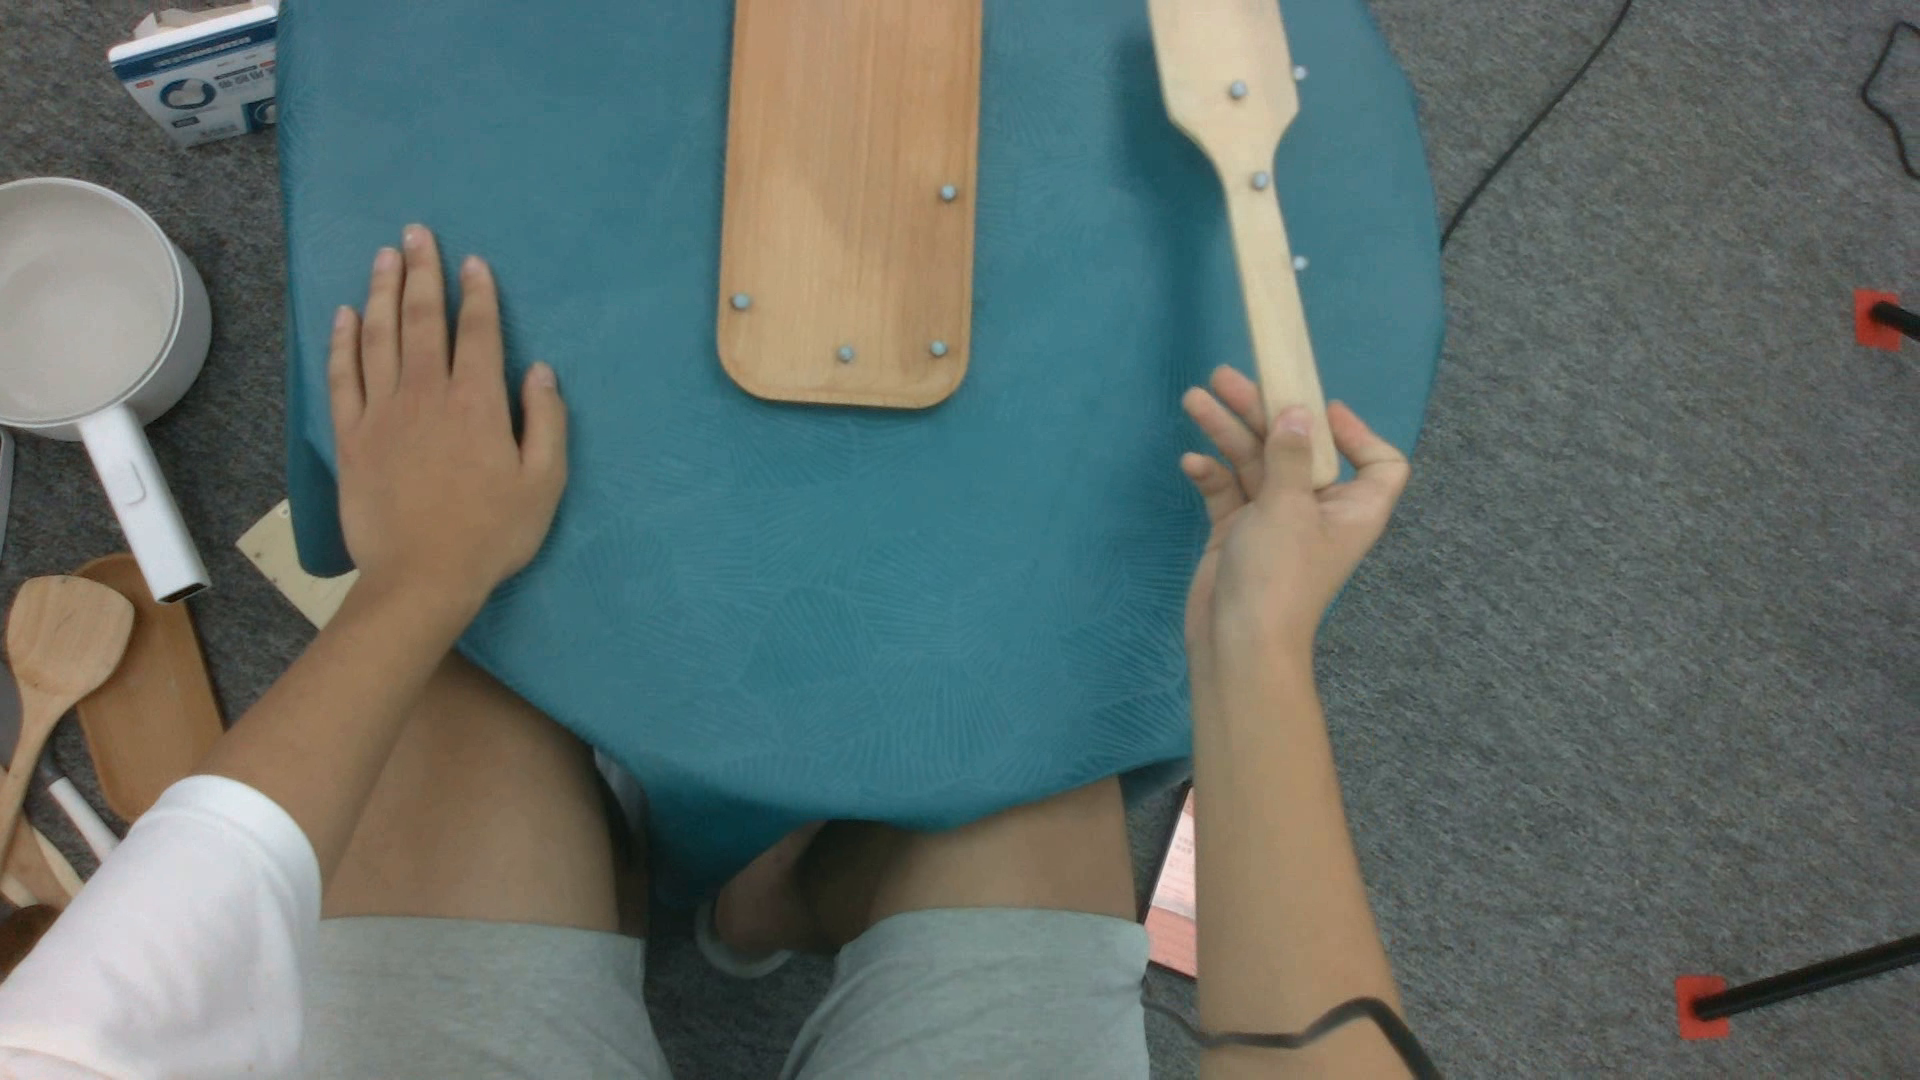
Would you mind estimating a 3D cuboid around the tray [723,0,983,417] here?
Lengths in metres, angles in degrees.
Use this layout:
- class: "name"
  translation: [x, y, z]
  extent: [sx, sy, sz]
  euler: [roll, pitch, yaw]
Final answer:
- class: "tray"
  translation: [-0.055, -0.189, 0.728]
  extent: [0.130, 0.023, 0.251]
  euler: [4, 81, -10]

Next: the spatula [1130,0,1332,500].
- class: "spatula"
  translation: [0.145, -0.155, 0.697]
  extent: [0.072, 0.010, 0.294]
  euler: [-6, 69, -7]
